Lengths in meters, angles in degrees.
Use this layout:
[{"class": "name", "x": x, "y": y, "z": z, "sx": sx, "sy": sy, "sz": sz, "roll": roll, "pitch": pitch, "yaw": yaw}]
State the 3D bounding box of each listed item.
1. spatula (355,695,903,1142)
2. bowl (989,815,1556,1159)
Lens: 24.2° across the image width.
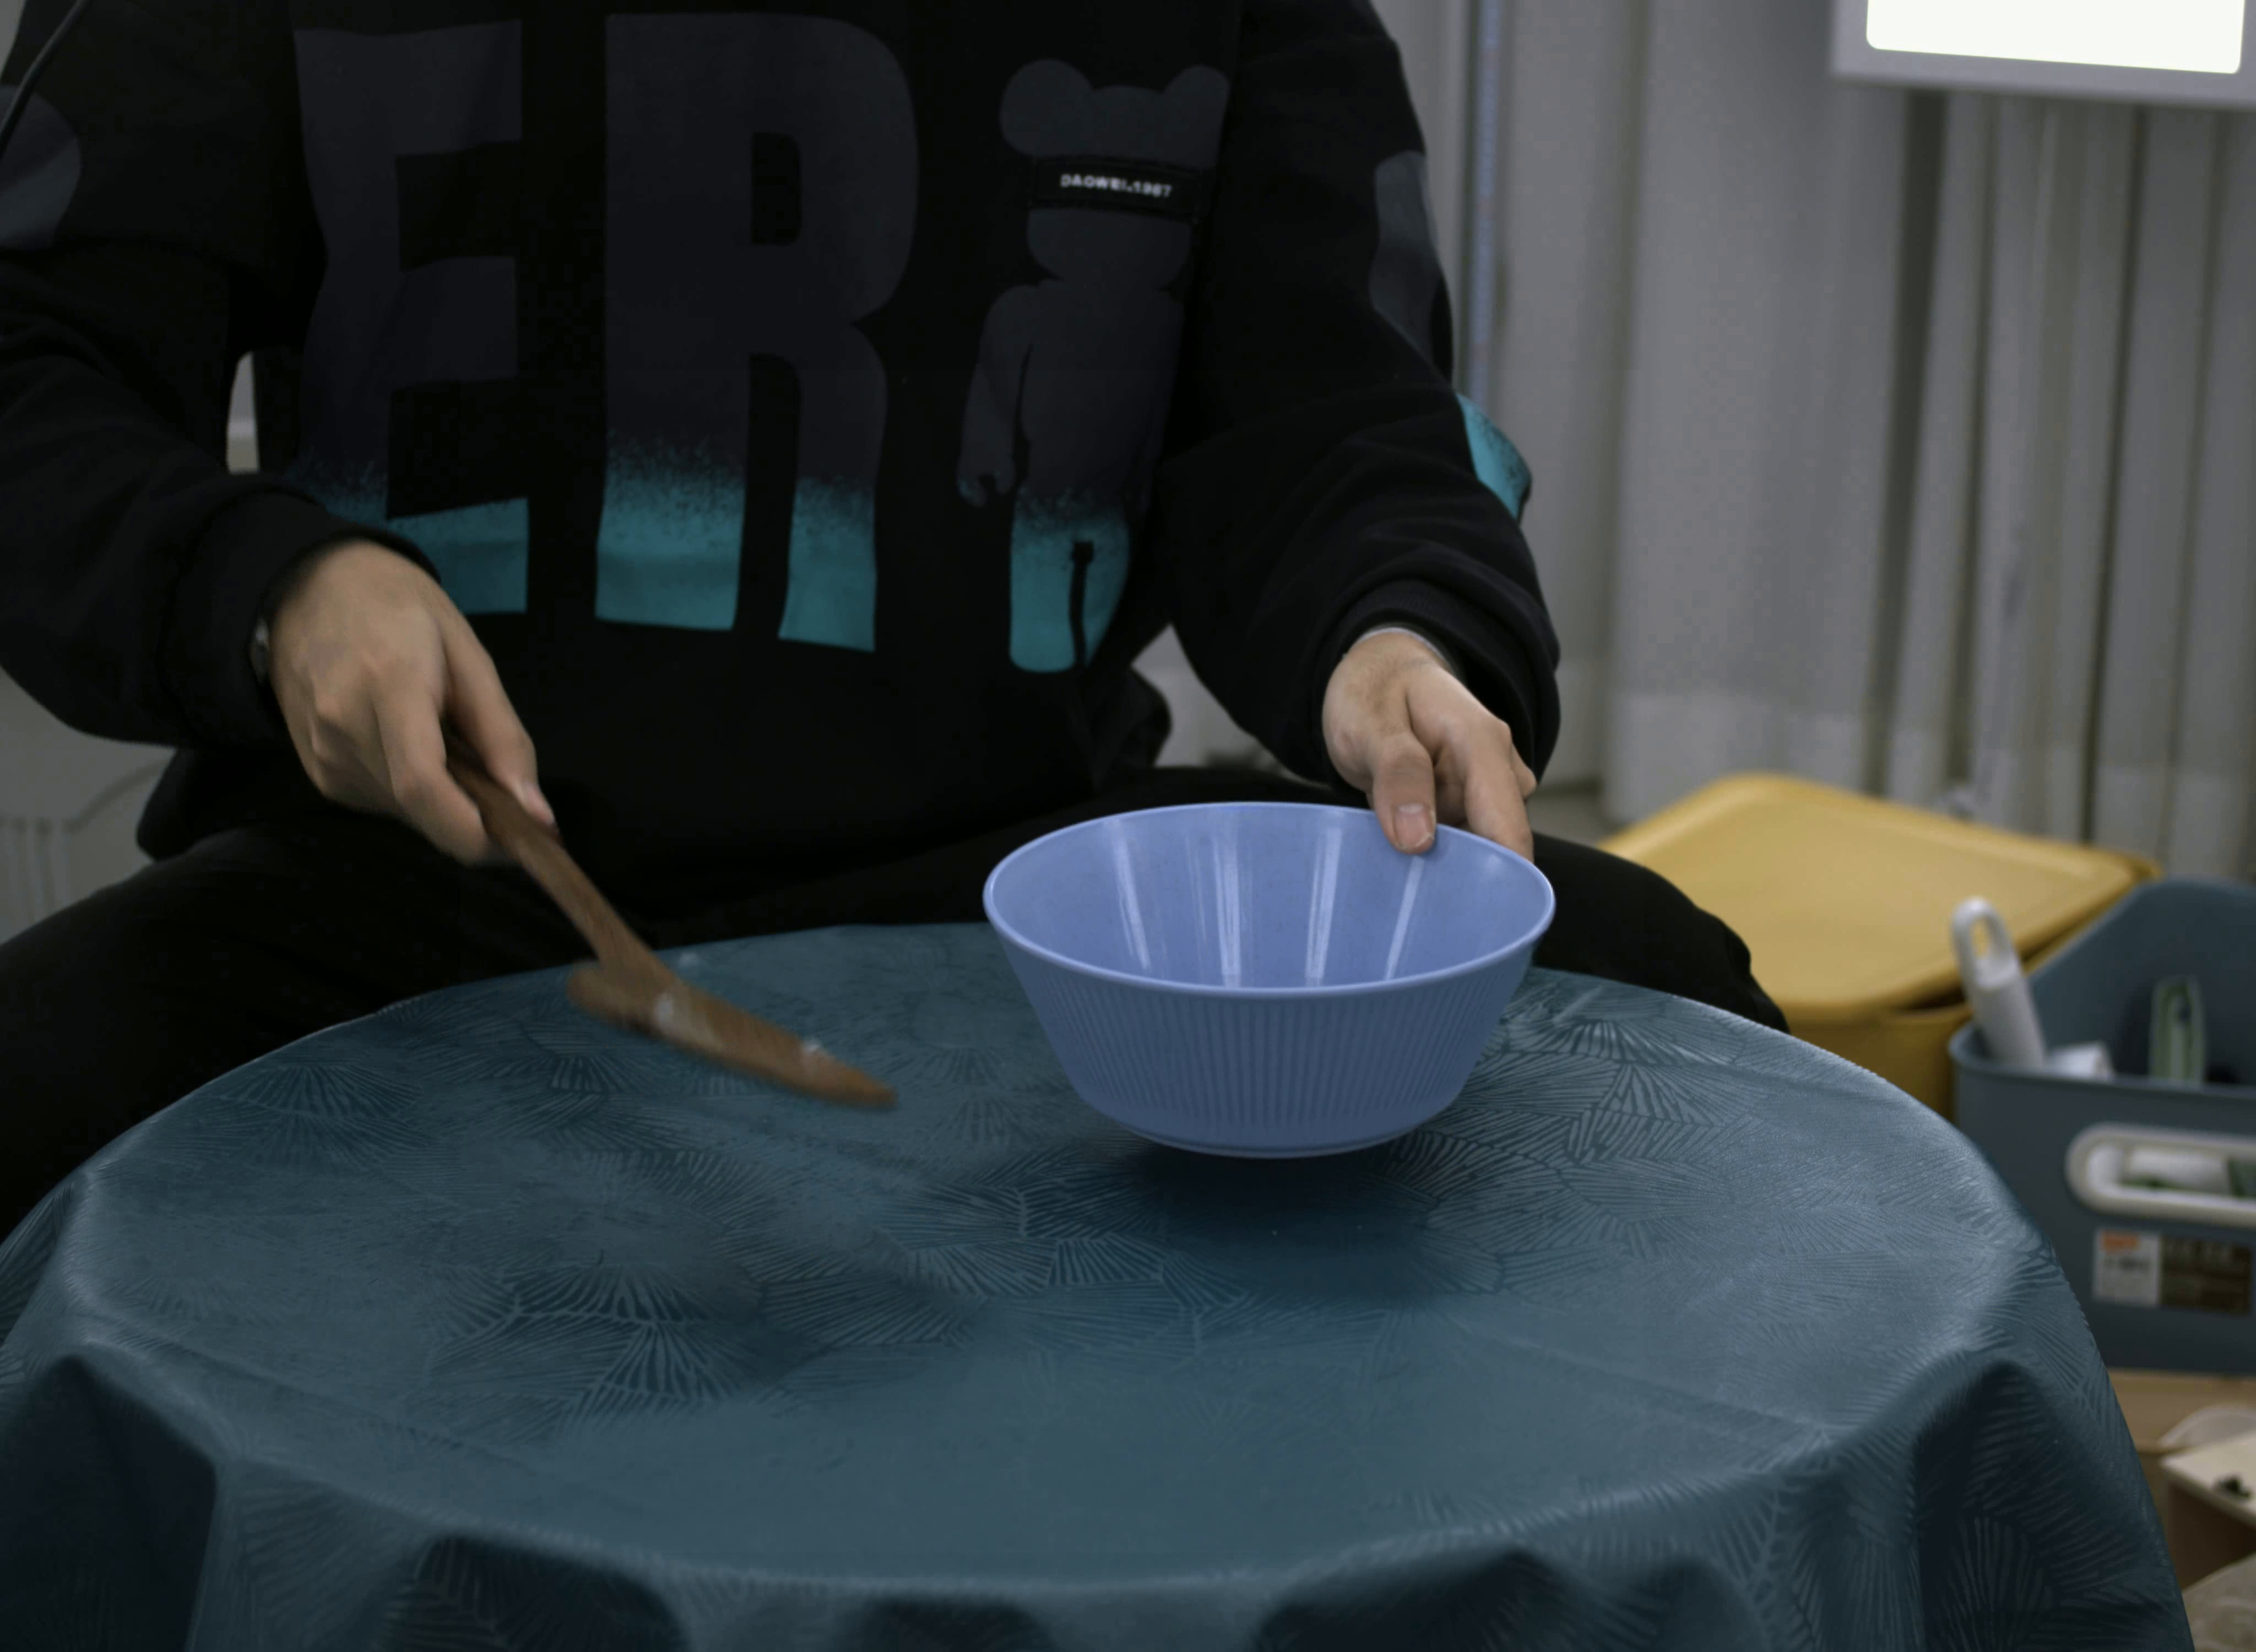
[{"class": "spatula", "x": -0.177, "y": 0.020, "z": 1.645, "sx": 0.097, "sy": 0.016, "sz": 0.381, "roll": 19, "pitch": 11, "yaw": -31}, {"class": "bowl", "x": 0.044, "y": 0.052, "z": 1.630, "sx": 0.175, "sy": 0.071, "sz": 0.175, "roll": 1, "pitch": 17, "yaw": 0}]
